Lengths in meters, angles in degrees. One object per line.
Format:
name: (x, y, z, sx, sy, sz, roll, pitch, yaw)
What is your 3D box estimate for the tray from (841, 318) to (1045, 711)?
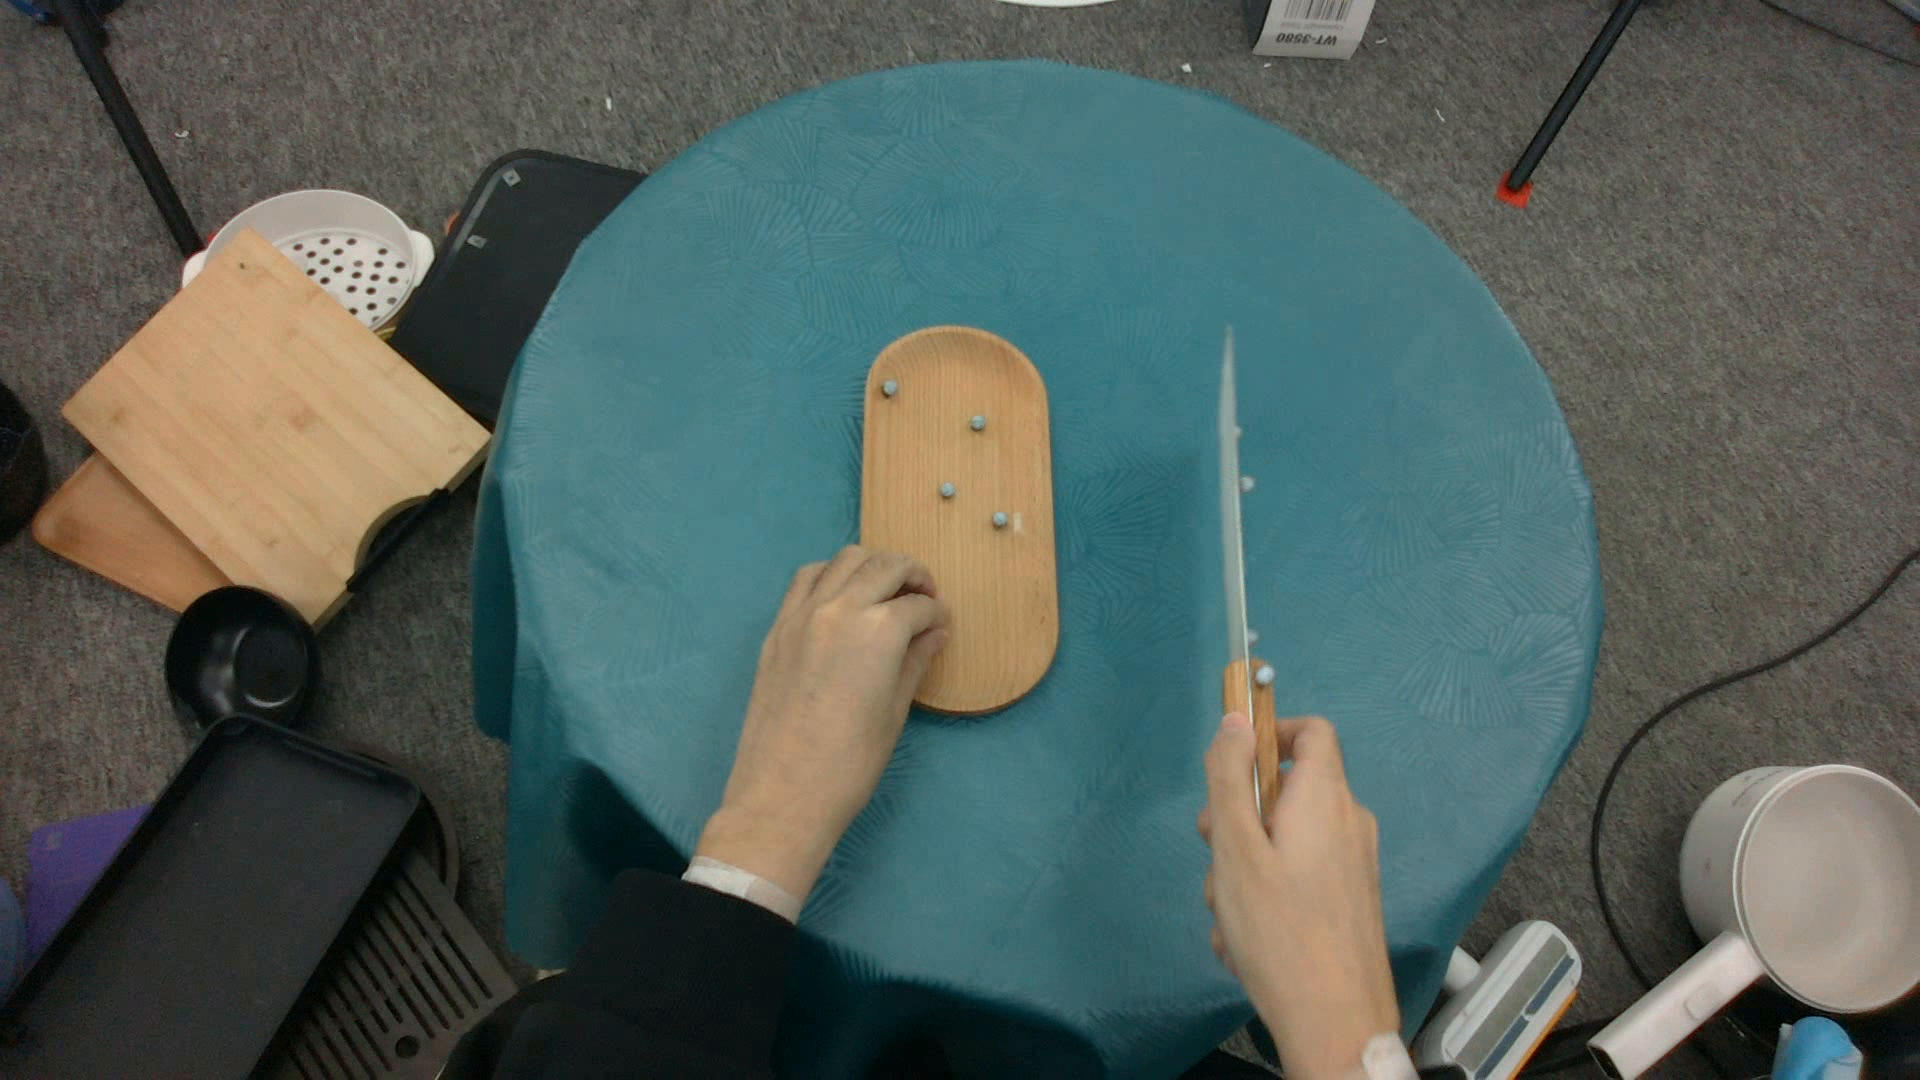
tray: (-0.009, -0.019, 0.714, 0.102, 0.020, 0.232, 3, 62, -6)

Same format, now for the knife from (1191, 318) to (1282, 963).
knife: (0.119, 0.042, 0.625, 0.021, 0.092, 0.307, -2, 60, 6)
